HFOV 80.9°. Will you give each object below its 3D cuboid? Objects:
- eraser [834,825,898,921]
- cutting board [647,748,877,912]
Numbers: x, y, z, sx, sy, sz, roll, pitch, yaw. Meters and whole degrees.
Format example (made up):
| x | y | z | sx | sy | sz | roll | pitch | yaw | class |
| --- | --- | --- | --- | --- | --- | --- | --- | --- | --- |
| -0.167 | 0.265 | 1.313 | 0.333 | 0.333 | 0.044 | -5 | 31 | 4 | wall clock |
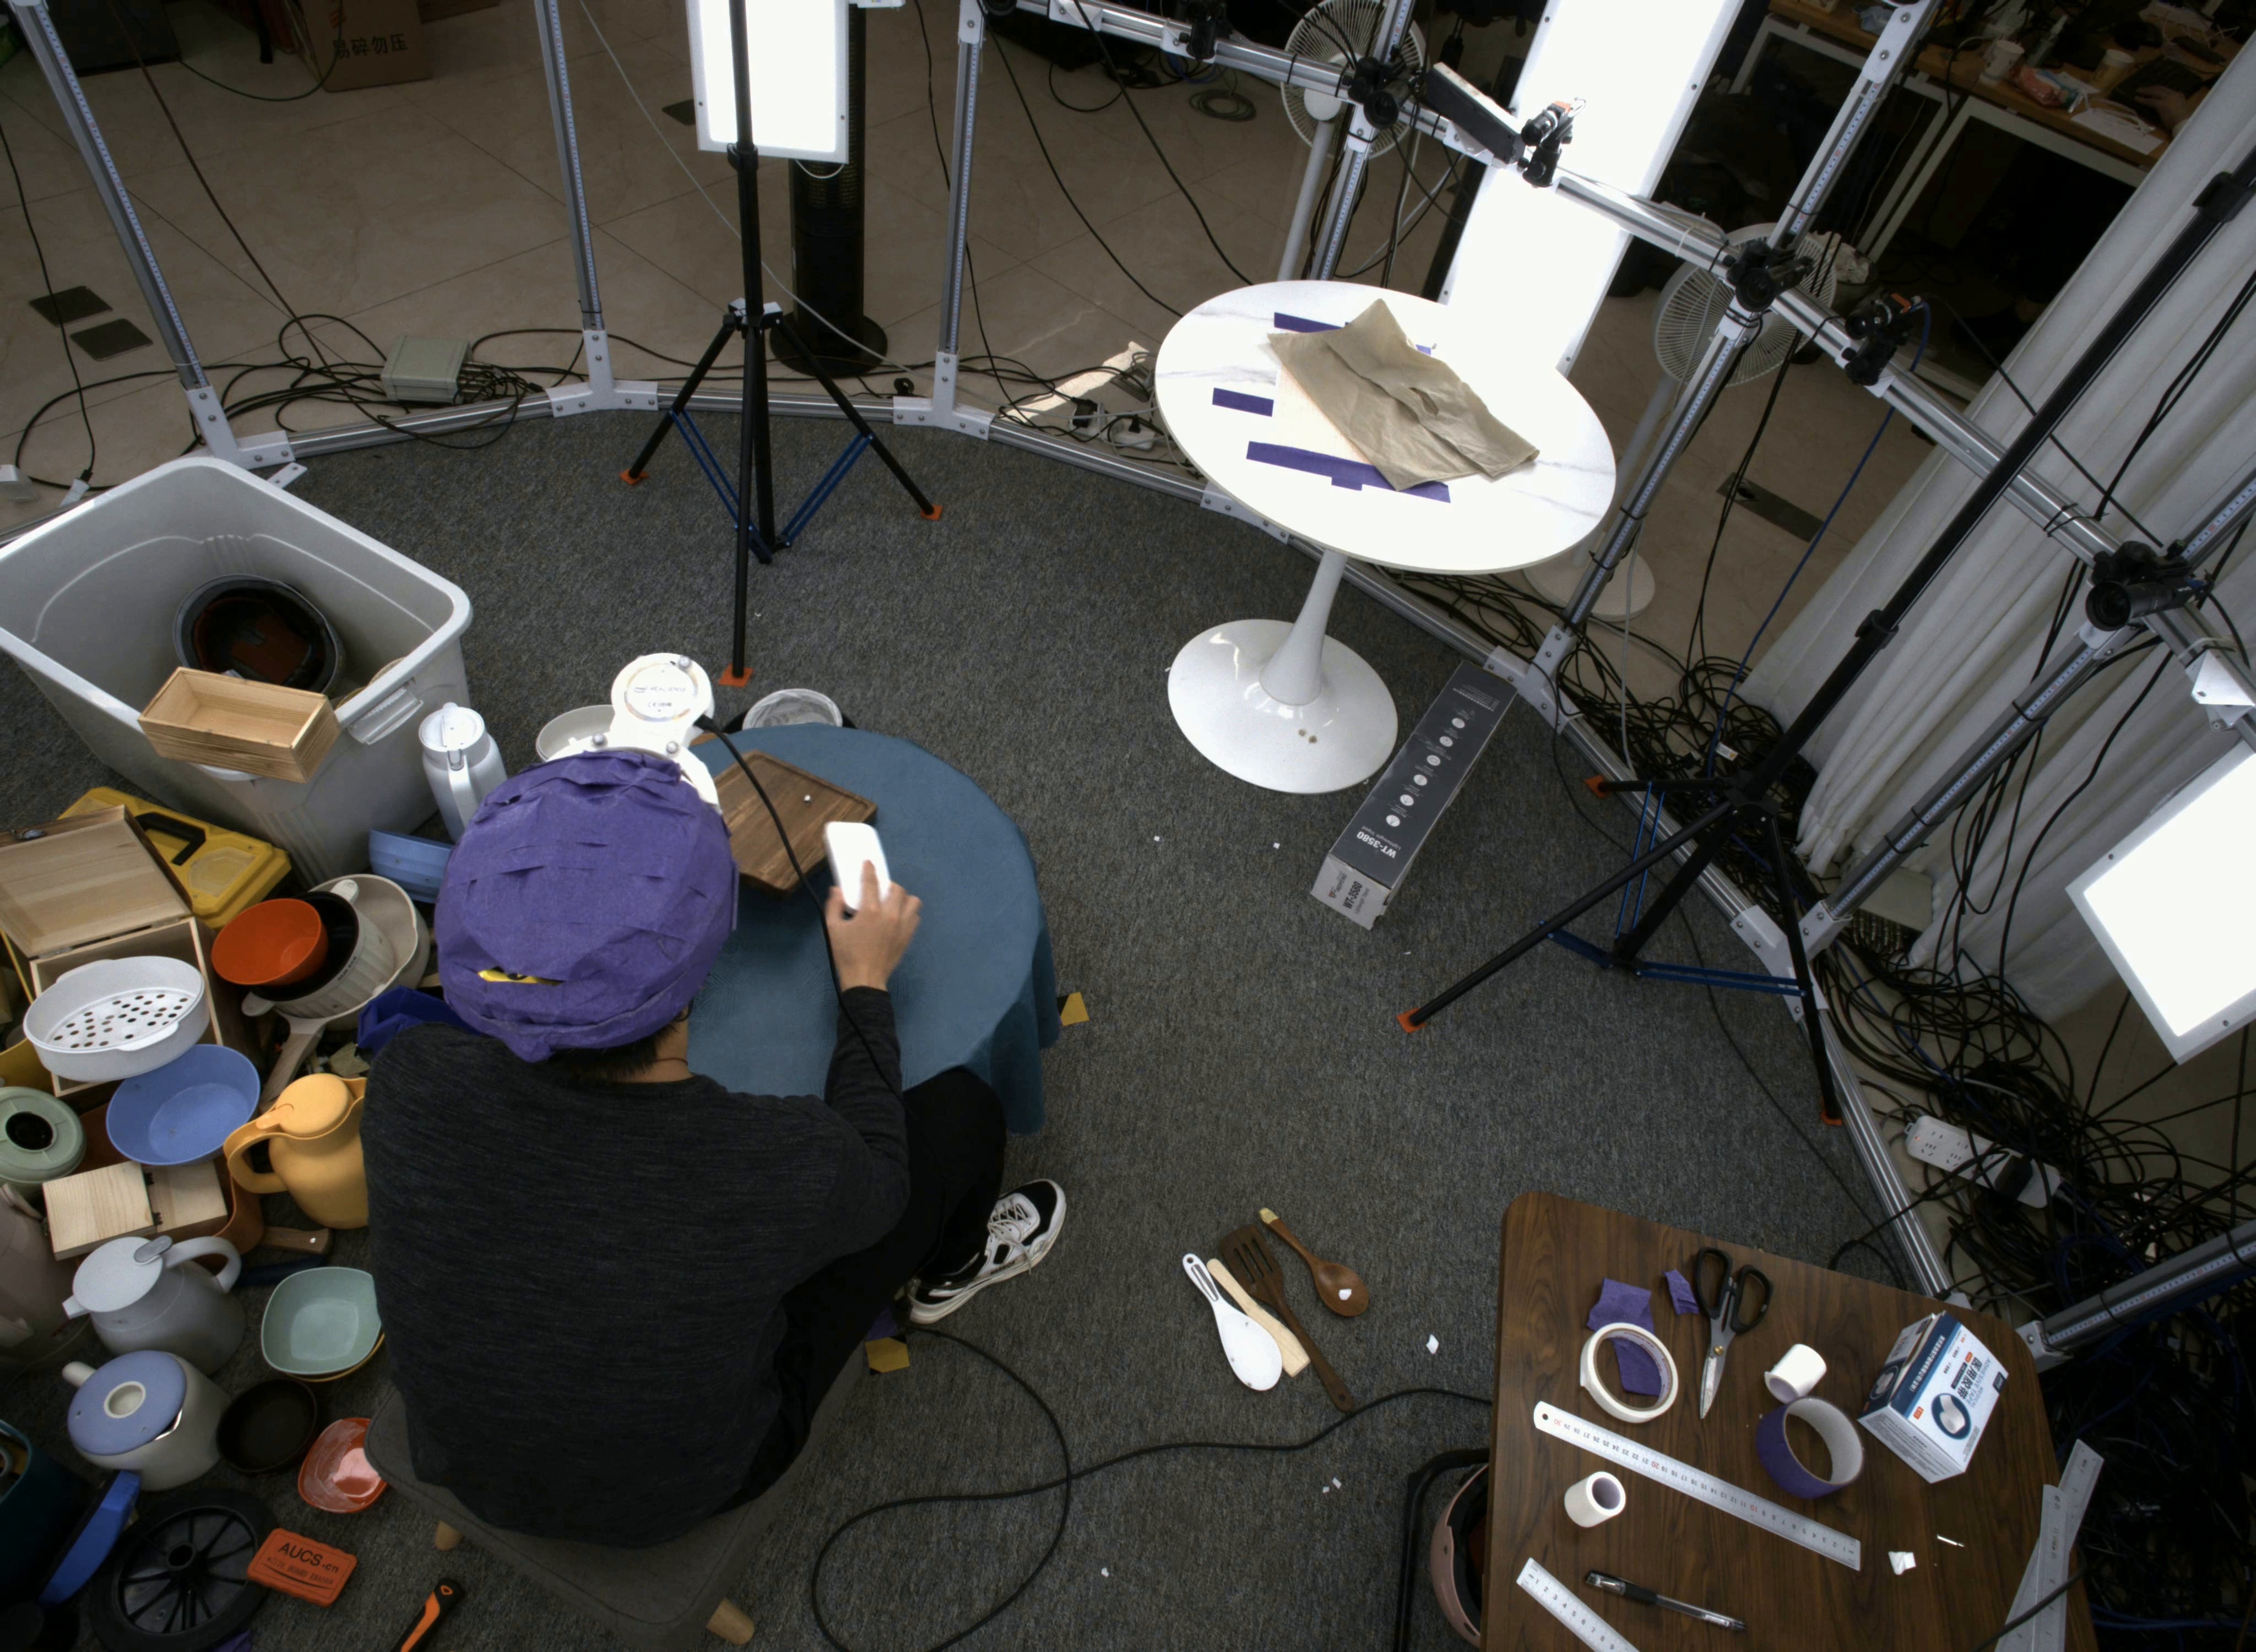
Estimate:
| x | y | z | sx | sy | sz | roll | pitch | yaw | class |
| --- | --- | --- | --- | --- | --- | --- | --- | --- | --- |
| -0.322 | 0.053 | 1.579 | 0.064 | 0.035 | 0.128 | 4 | 51 | -32 | eraser |
| -0.474 | 0.010 | 1.608 | 0.198 | 0.023 | 0.350 | 25 | 31 | 5 | cutting board |
